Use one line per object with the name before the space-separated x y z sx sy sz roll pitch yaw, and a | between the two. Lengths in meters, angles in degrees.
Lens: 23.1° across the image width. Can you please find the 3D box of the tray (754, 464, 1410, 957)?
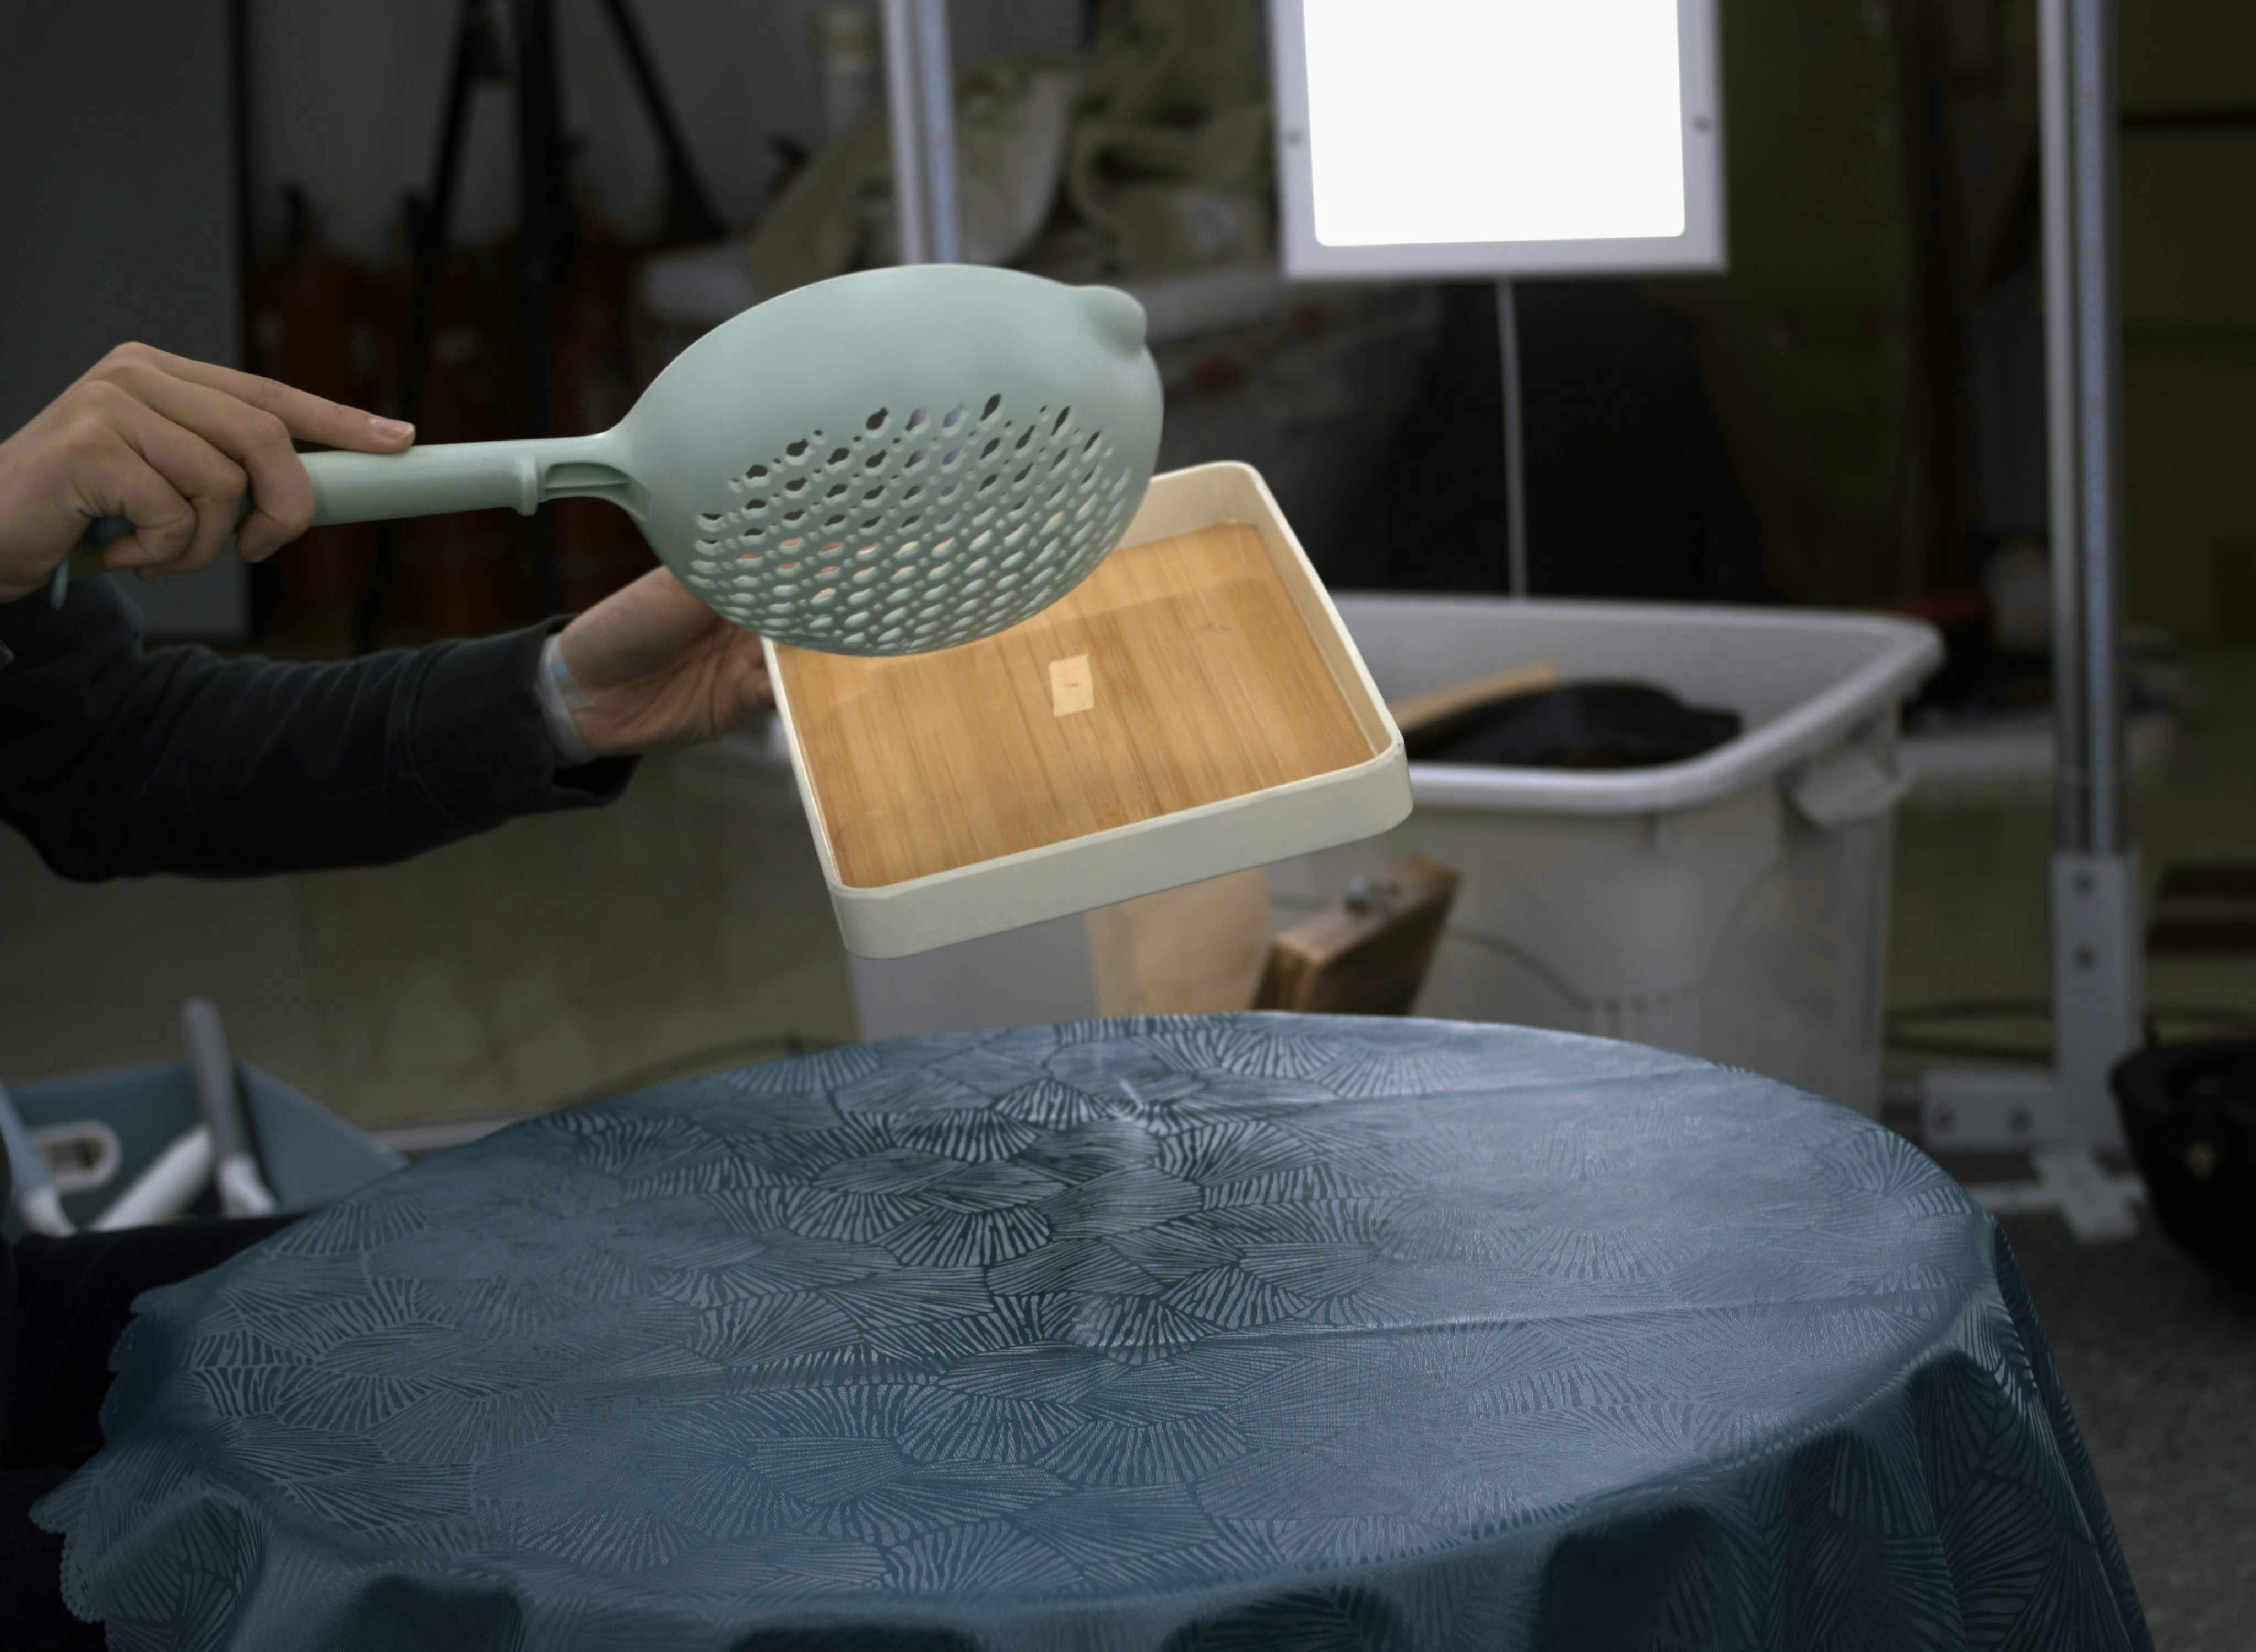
tray | -0.022 -0.045 1.869 0.191 0.027 0.301 -15 23 -2

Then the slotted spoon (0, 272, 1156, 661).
slotted spoon | -0.166 -0.103 1.693 0.355 0.171 0.075 3 56 -7
